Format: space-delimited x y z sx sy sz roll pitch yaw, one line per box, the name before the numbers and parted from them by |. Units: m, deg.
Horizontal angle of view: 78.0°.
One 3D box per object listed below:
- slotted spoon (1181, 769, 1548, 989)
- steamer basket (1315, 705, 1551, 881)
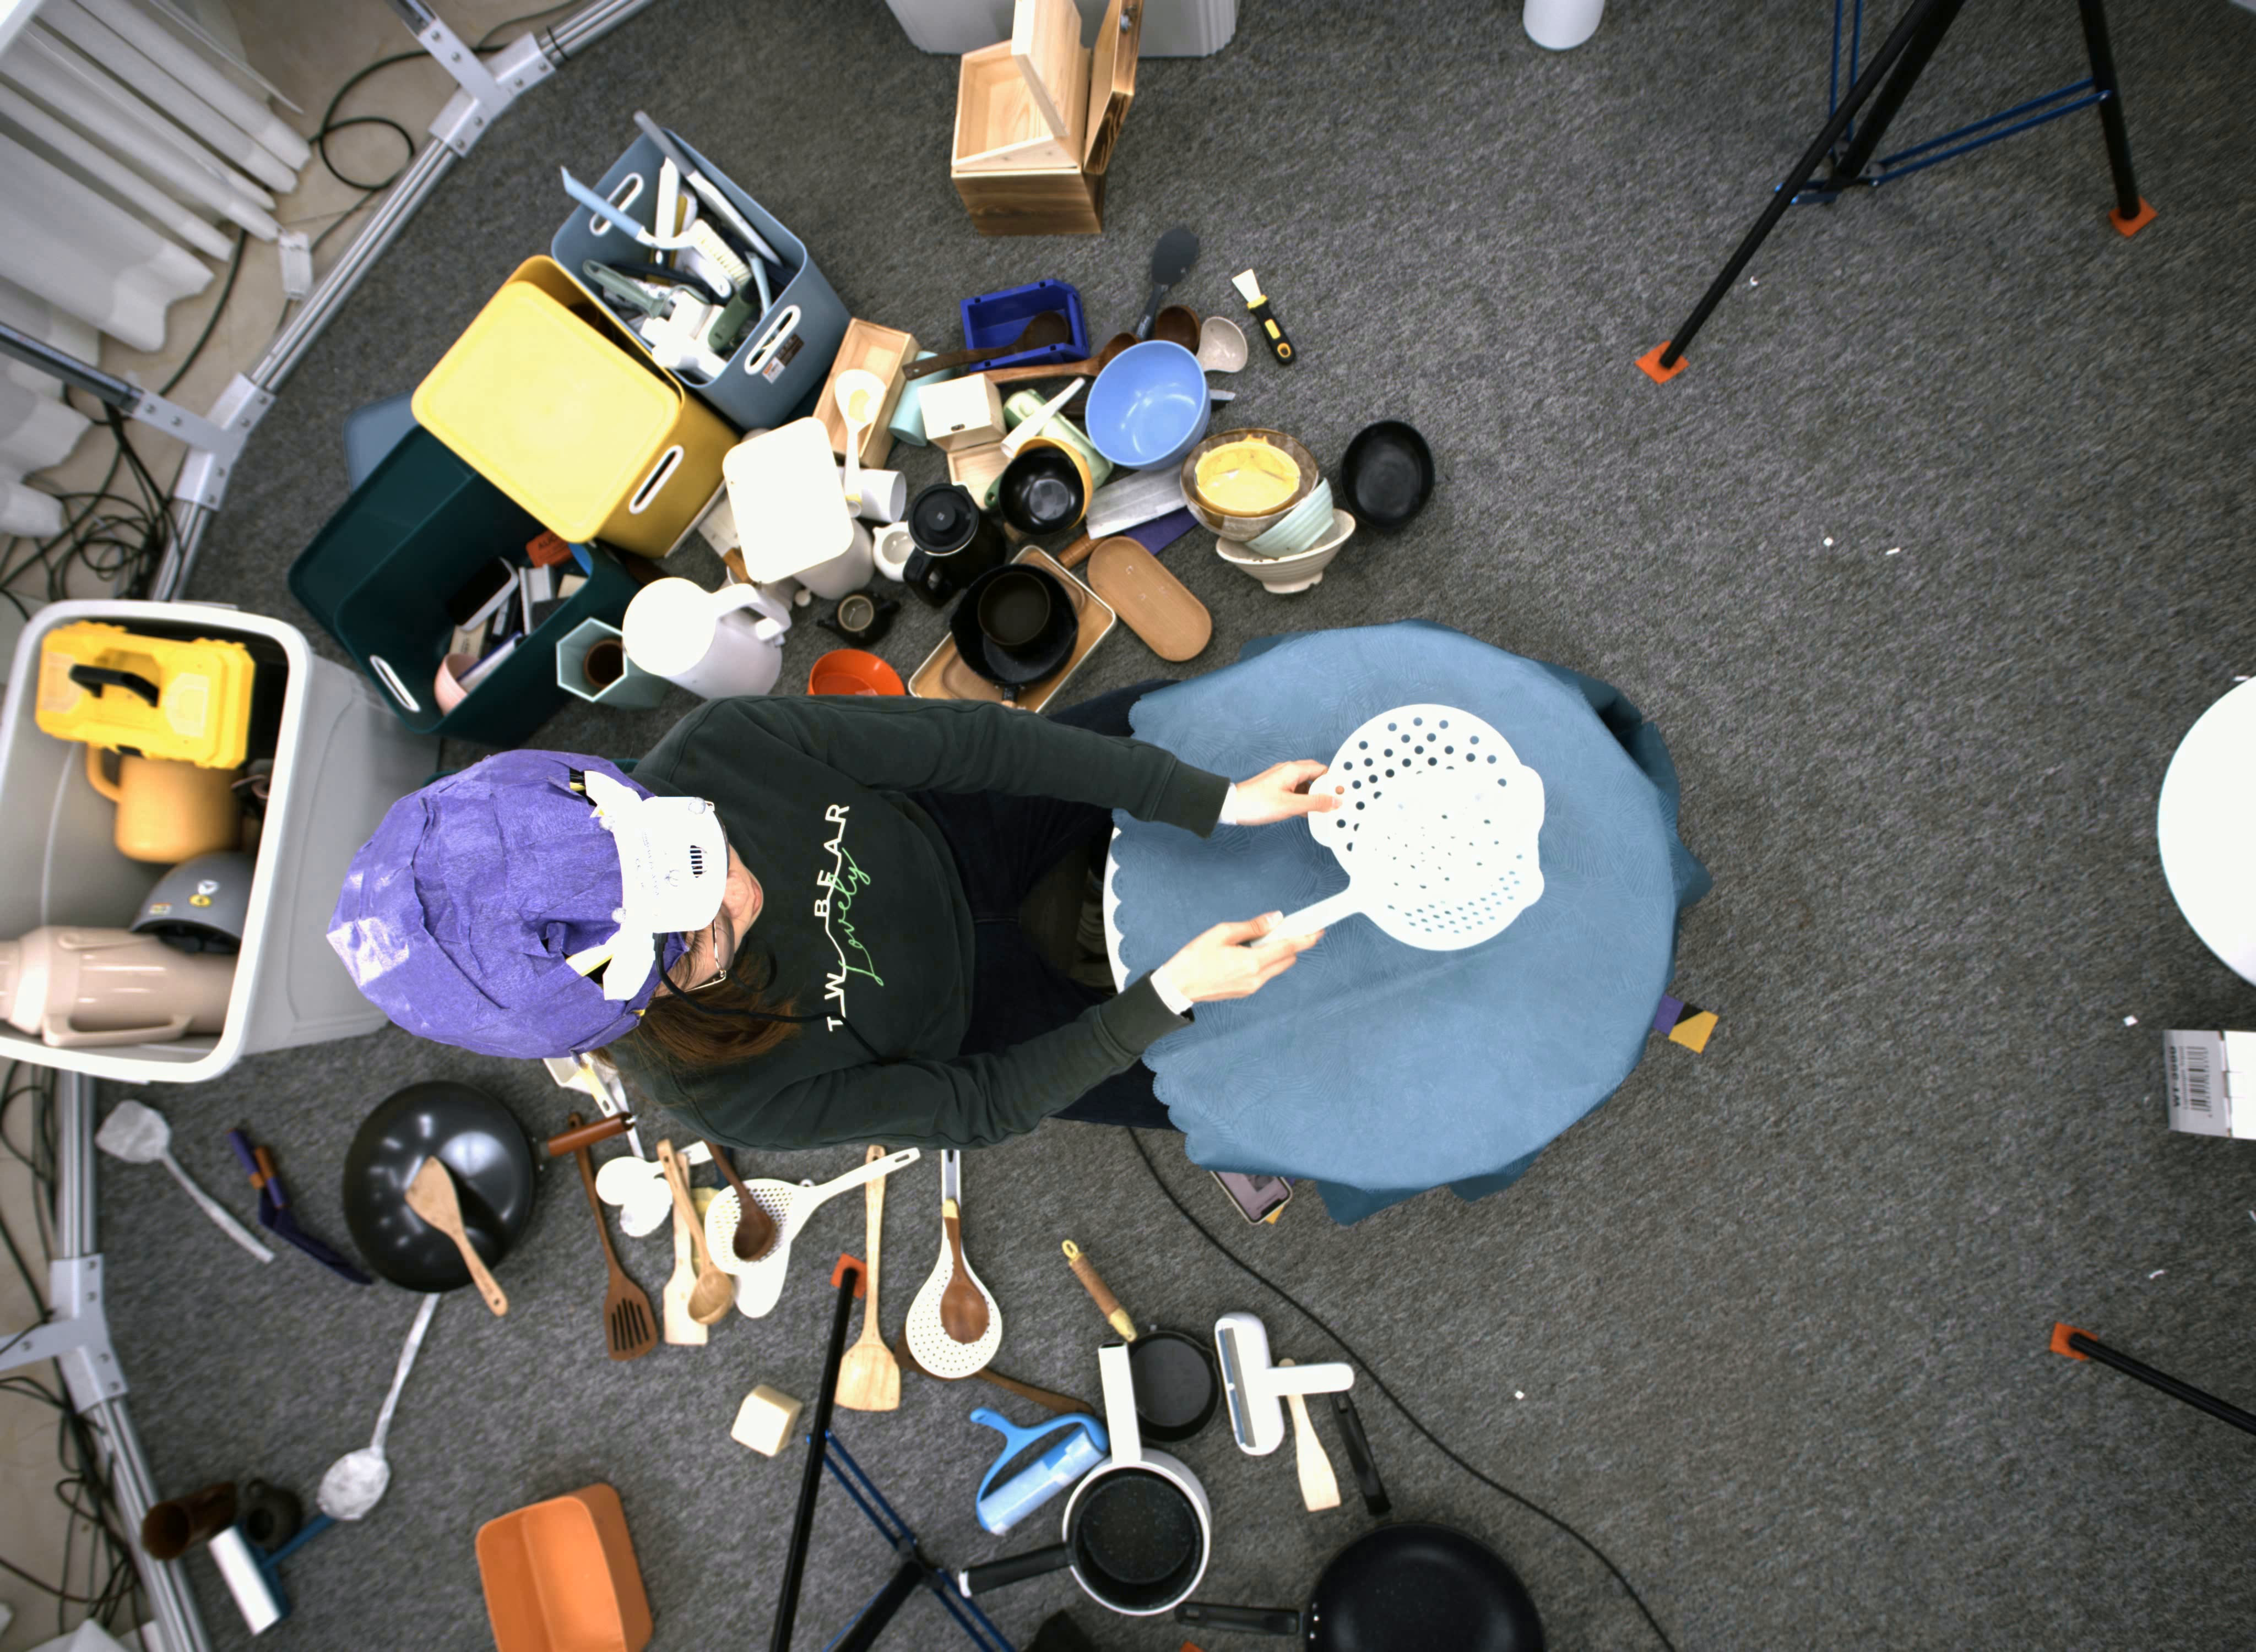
slotted spoon | 0.212 0.076 1.304 0.360 0.076 0.167 -22 70 6
steamer basket | 0.304 -0.021 1.389 0.231 0.069 0.202 -4 94 9
